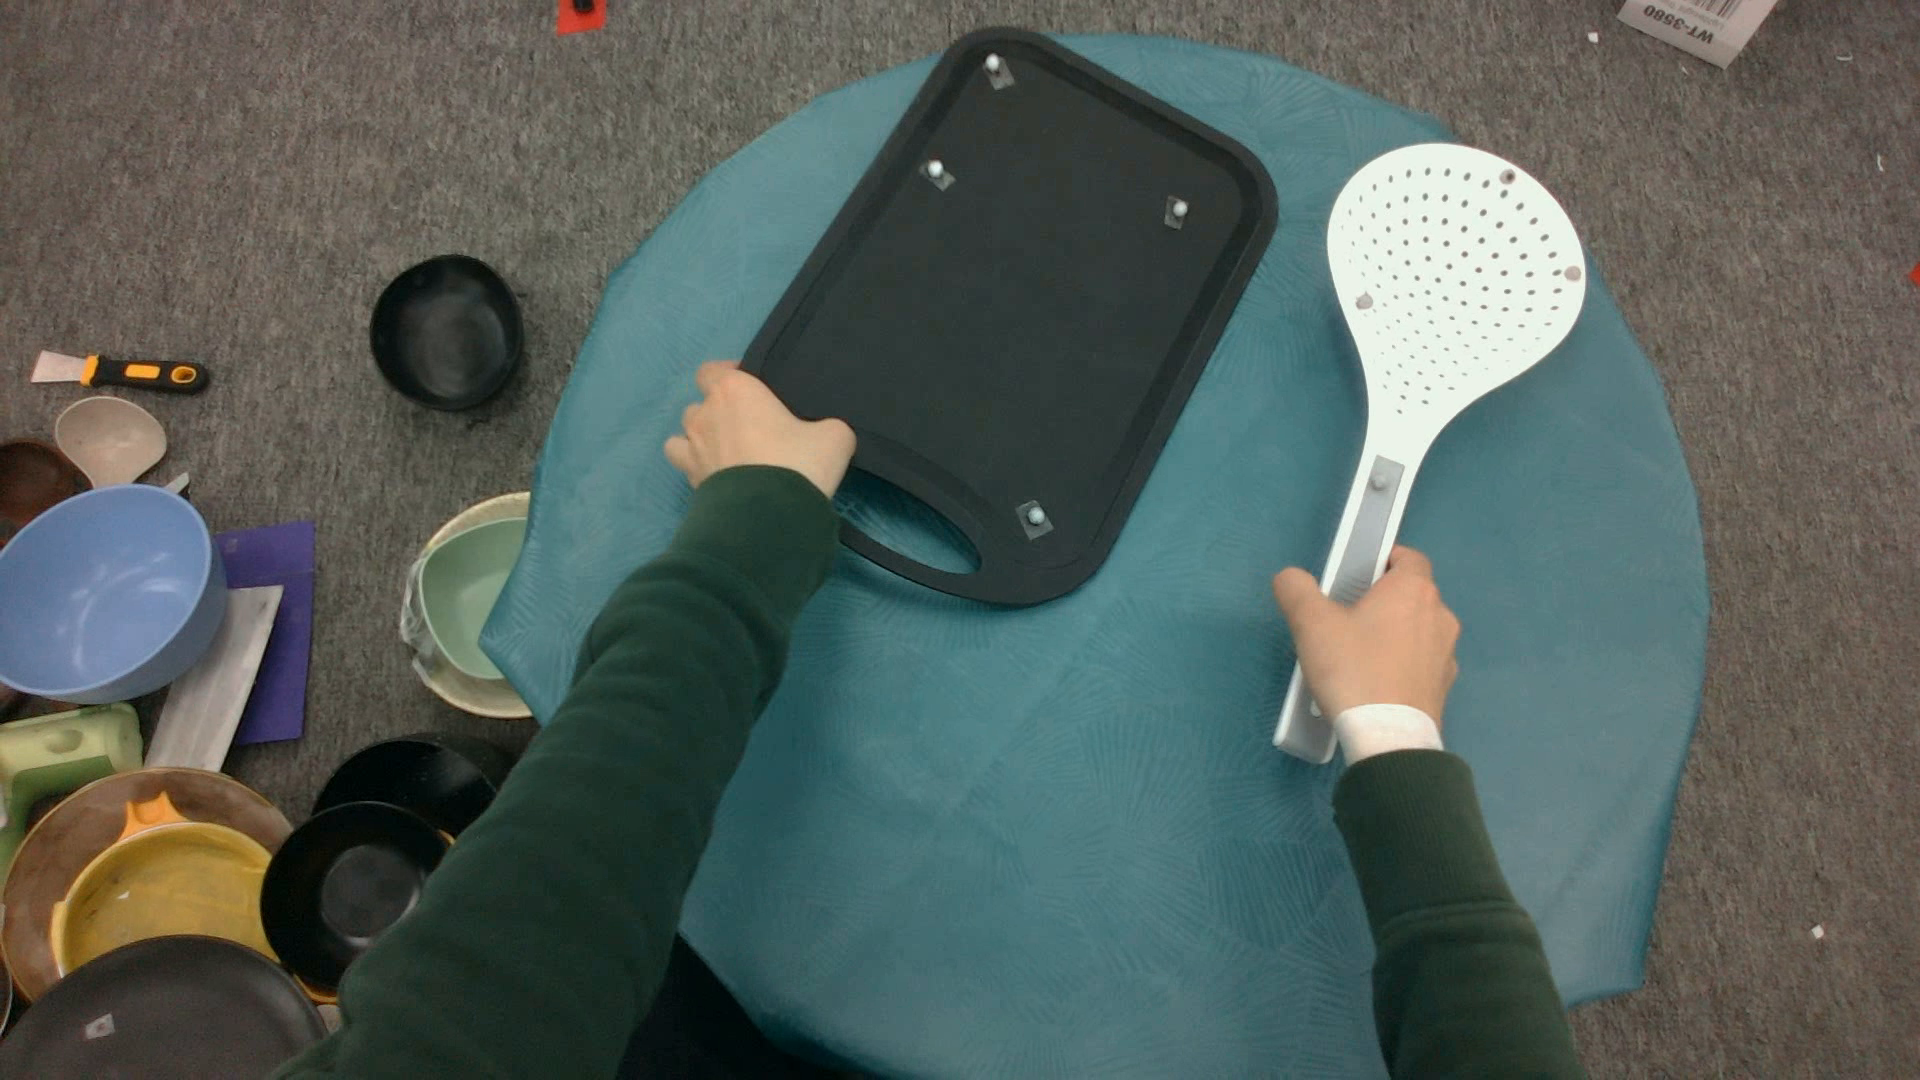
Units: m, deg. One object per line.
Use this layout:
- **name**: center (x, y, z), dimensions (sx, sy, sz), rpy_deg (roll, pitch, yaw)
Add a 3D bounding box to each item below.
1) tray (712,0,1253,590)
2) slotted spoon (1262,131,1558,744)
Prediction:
- **tray**: center (0.019, -0.133, 0.718), dimensions (0.211, 0.010, 0.326), rpy_deg (30, 70, -5)
- **slotted spoon**: center (0.211, -0.062, 0.691), dimensions (0.136, 0.045, 0.351), rpy_deg (20, 64, 3)
